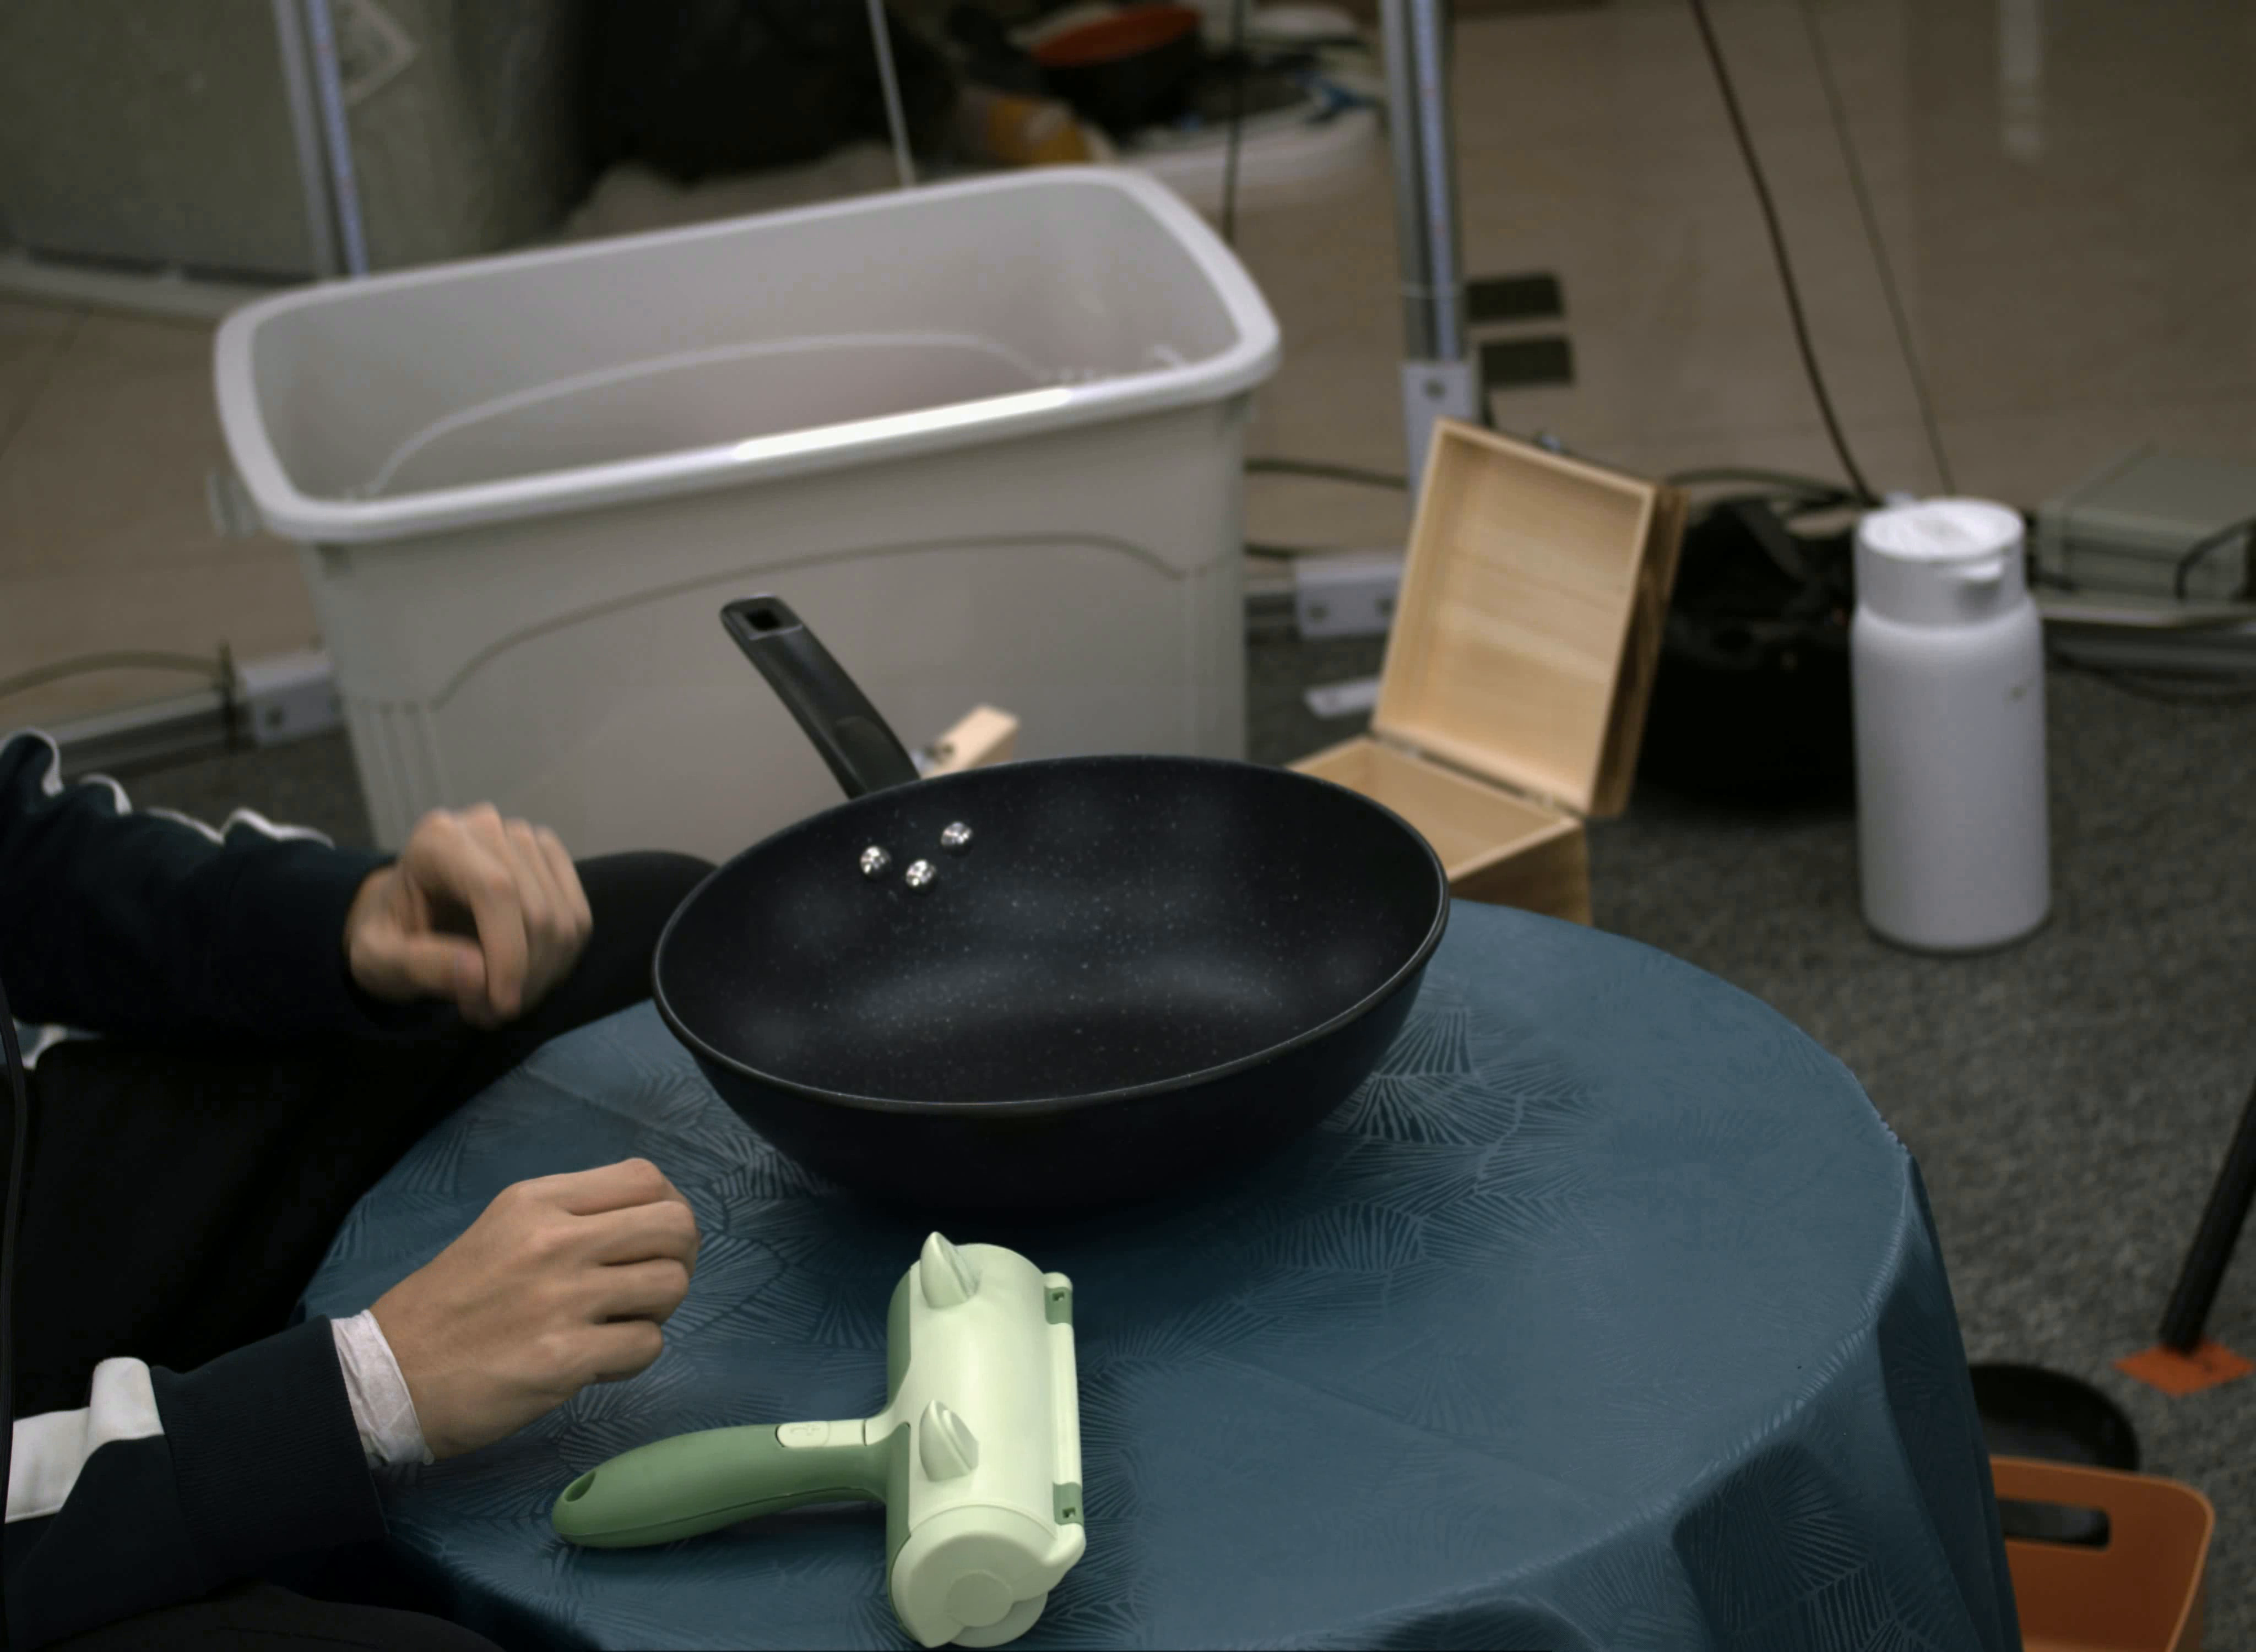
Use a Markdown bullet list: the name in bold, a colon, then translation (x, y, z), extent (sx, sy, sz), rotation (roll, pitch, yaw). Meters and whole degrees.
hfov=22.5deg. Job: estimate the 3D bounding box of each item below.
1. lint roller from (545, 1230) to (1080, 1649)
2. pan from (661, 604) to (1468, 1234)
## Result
- **lint roller**: translation (-0.109, 0.204, 1.940), extent (0.183, 0.083, 0.195), rotation (-1, 25, -1)
- **pan**: translation (-0.058, 0.038, 2.247), extent (0.309, 0.113, 0.471), rotation (-15, 27, -21)
